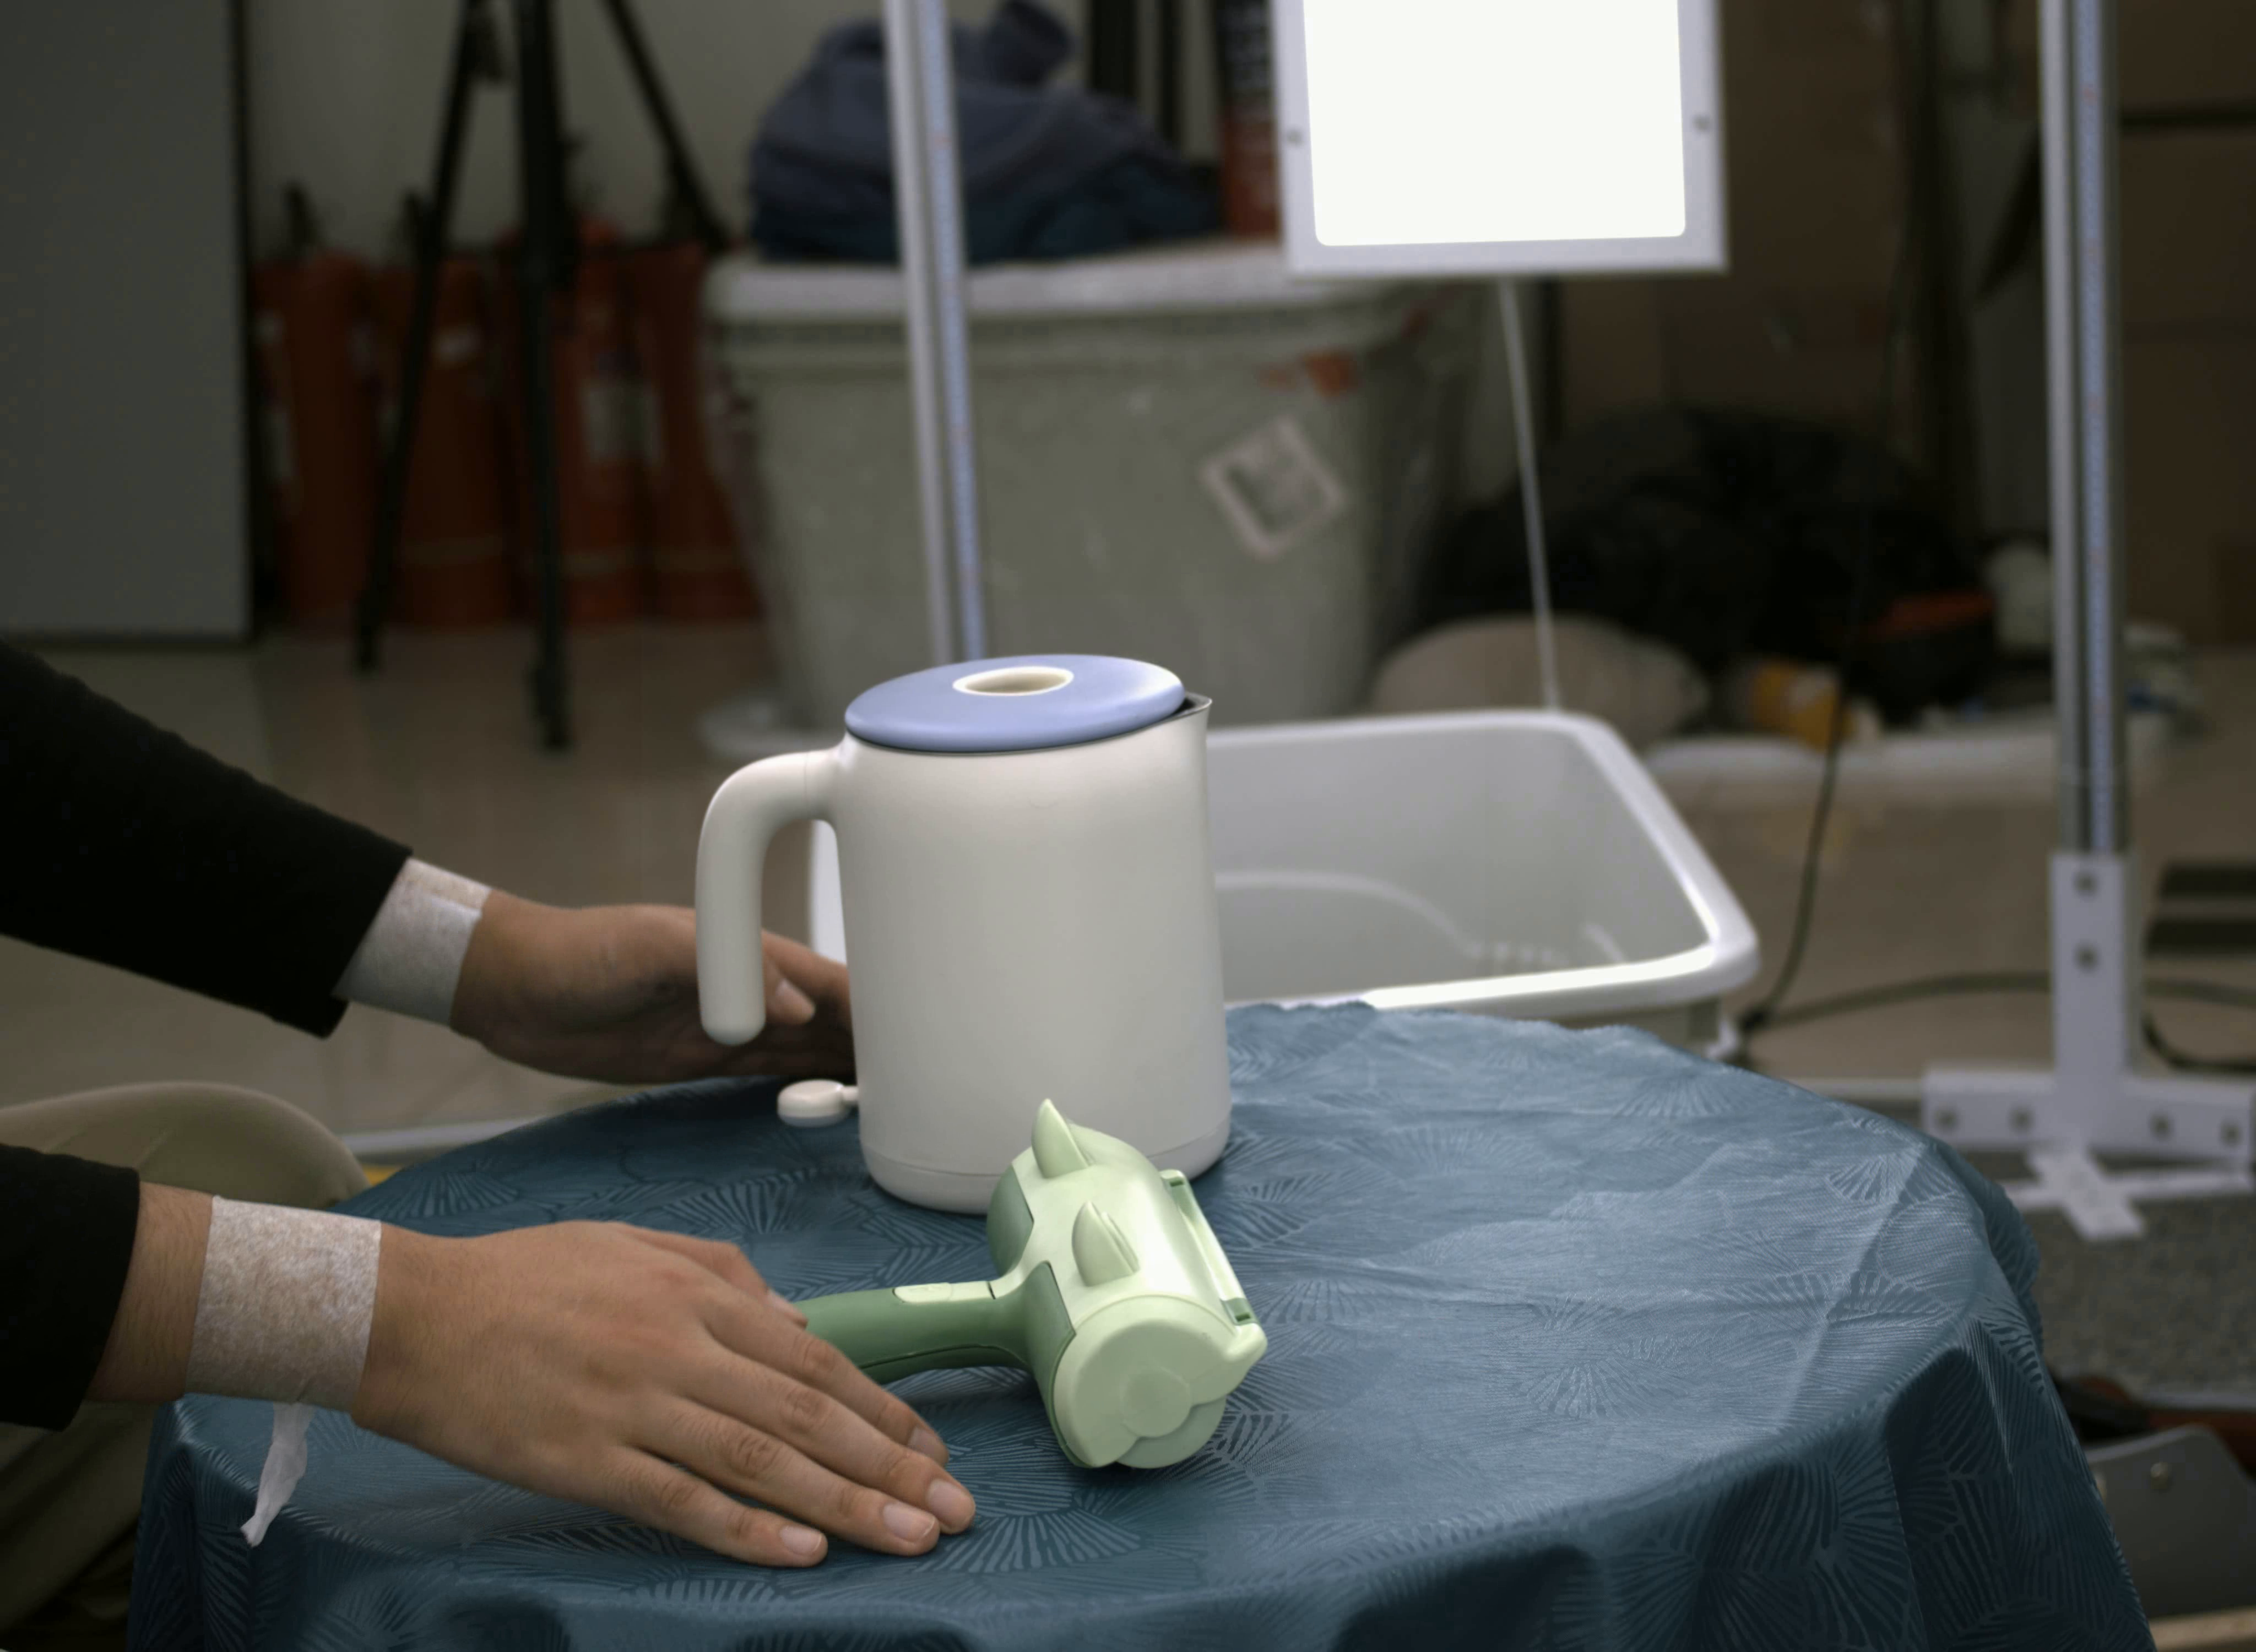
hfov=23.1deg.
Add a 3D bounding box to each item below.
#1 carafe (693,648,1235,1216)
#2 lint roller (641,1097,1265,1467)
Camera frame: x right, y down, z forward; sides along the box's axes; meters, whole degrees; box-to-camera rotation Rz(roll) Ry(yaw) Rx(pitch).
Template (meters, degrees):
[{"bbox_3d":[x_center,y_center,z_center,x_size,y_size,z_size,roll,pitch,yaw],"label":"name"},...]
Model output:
[{"bbox_3d":[-0.058,0.038,1.919,0.192,0.183,0.131,-5,13,7],"label":"carafe"},{"bbox_3d":[-0.060,0.141,1.700,0.182,0.082,0.199,-4,12,-5],"label":"lint roller"}]
